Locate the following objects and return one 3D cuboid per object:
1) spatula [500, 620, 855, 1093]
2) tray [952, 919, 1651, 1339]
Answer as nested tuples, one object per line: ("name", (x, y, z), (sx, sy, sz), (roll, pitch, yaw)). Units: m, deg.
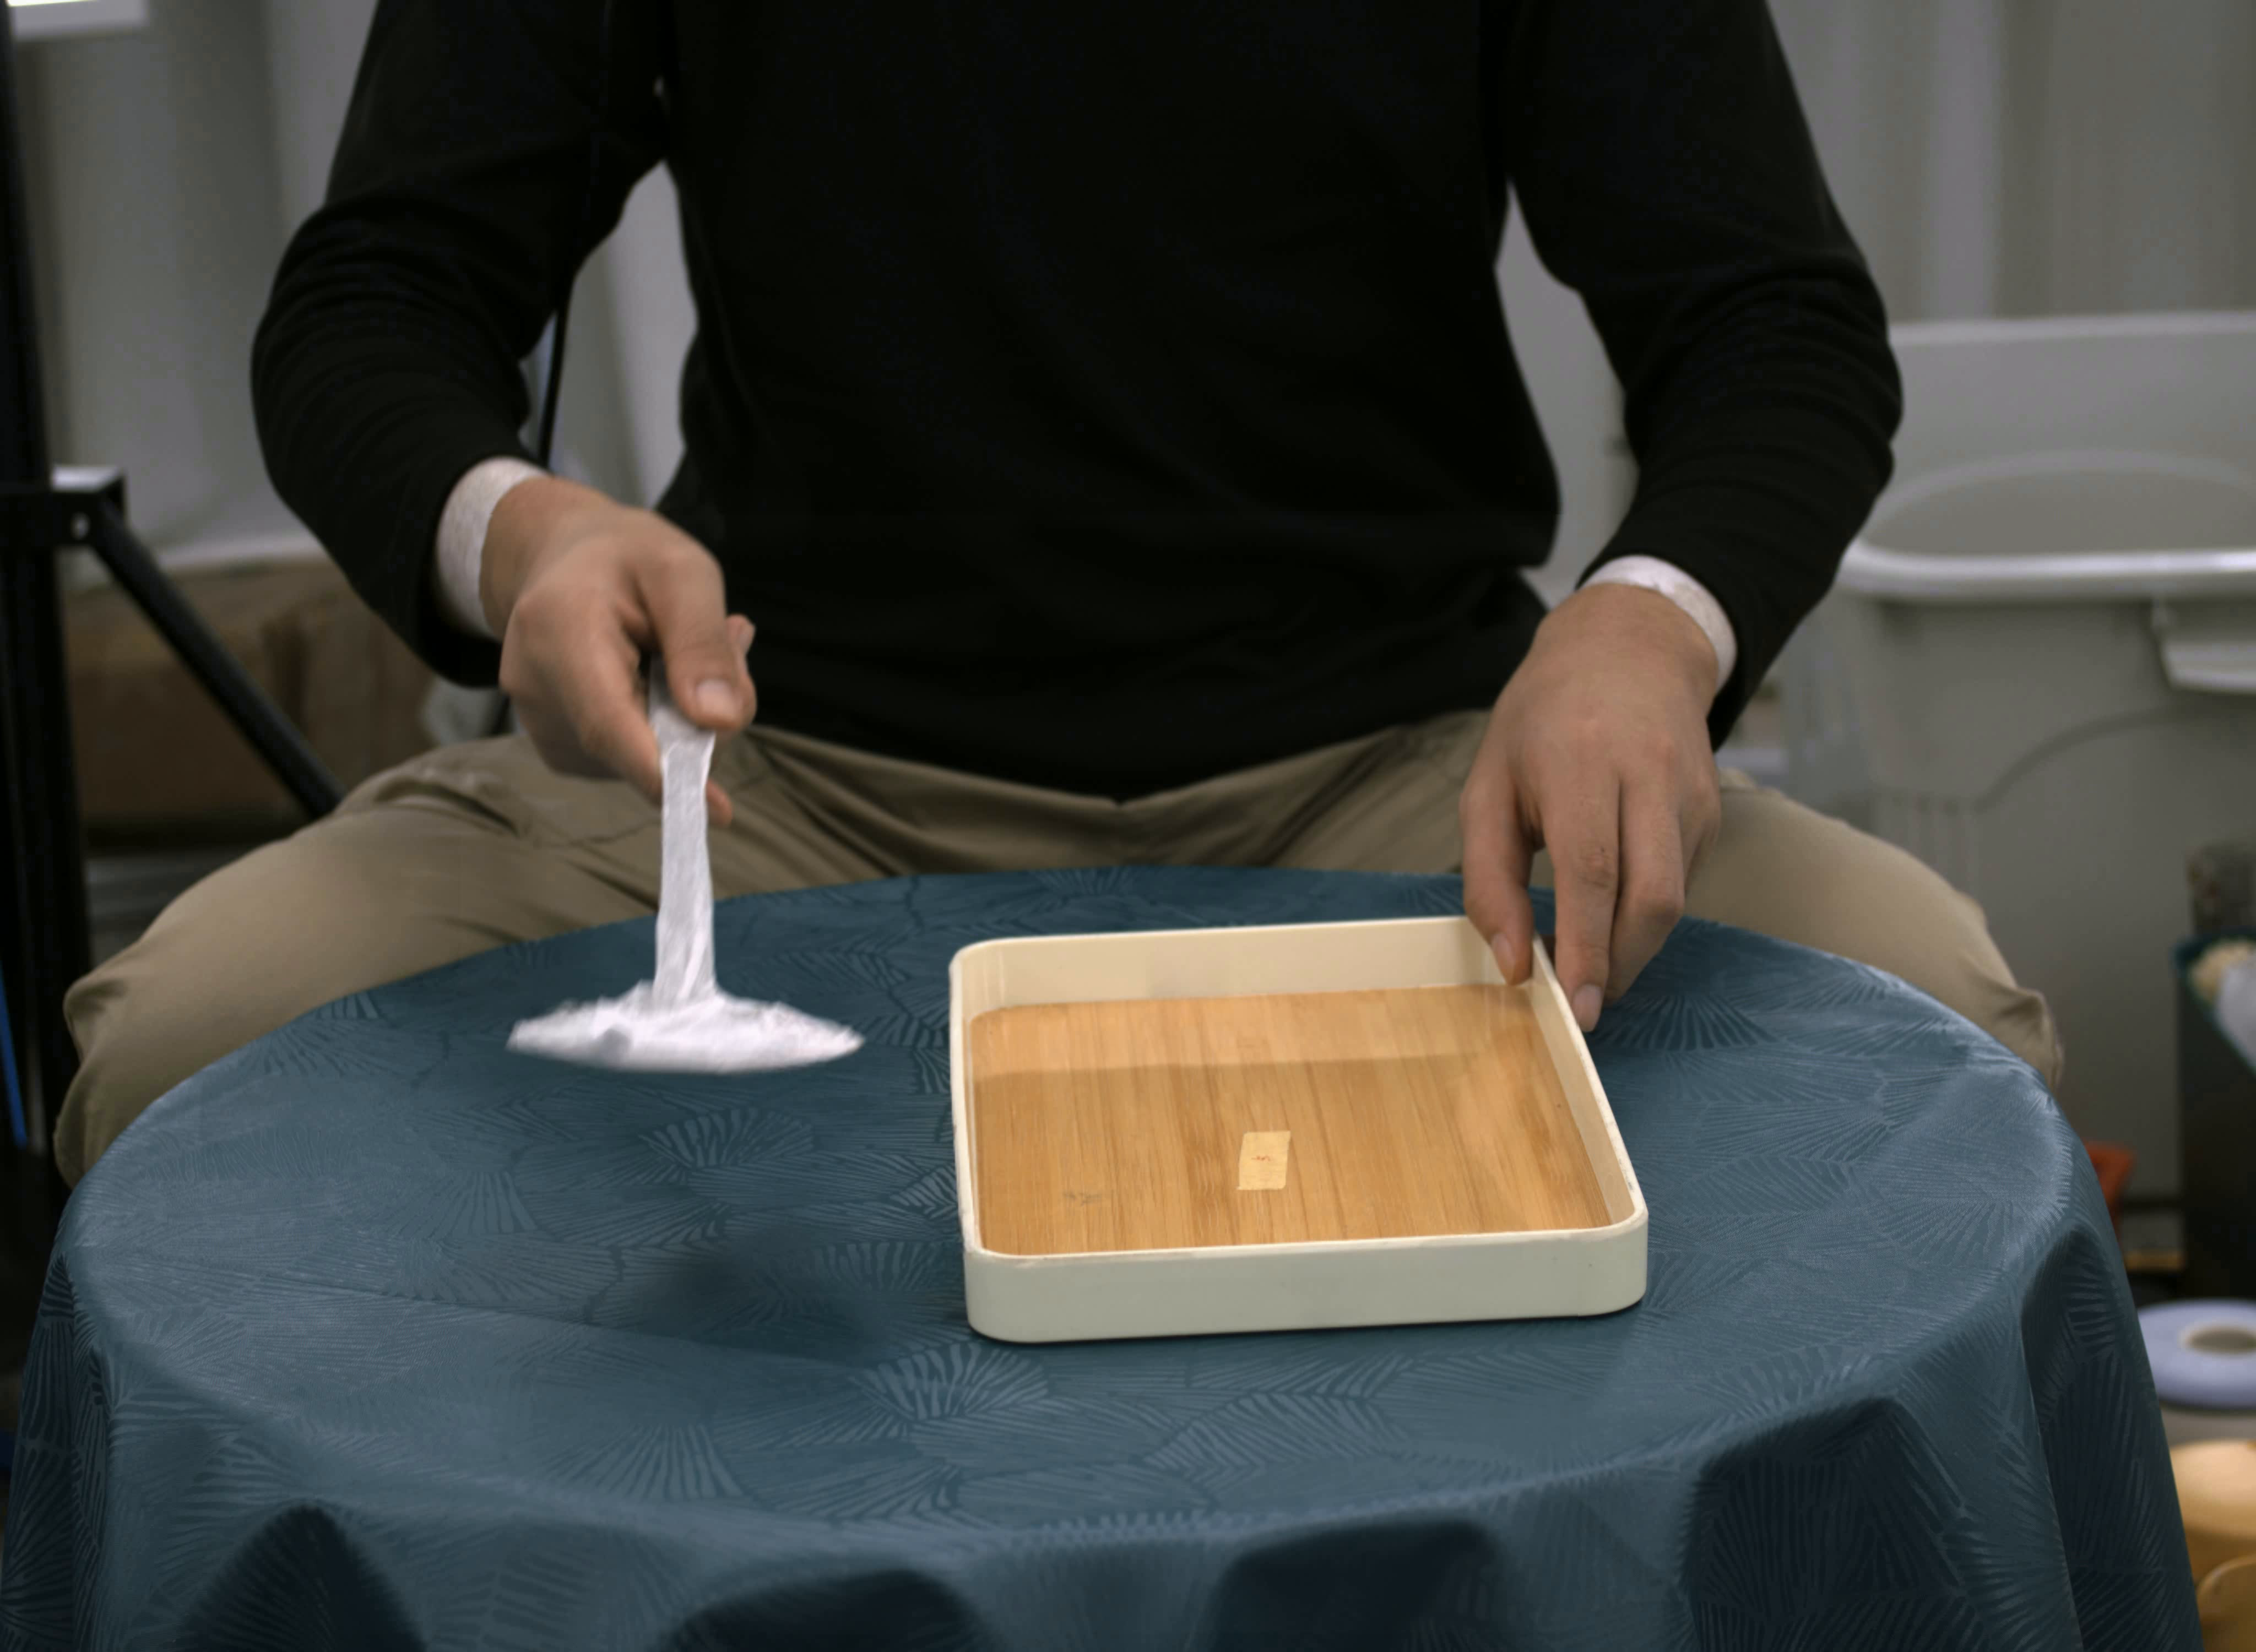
("spatula", (-0.133, 0.001, 1.606), (0.098, 0.044, 0.368), (-3, 28, -2))
("tray", (0.044, 0.086, 1.578), (0.190, 0.027, 0.302), (-3, 16, -1))
